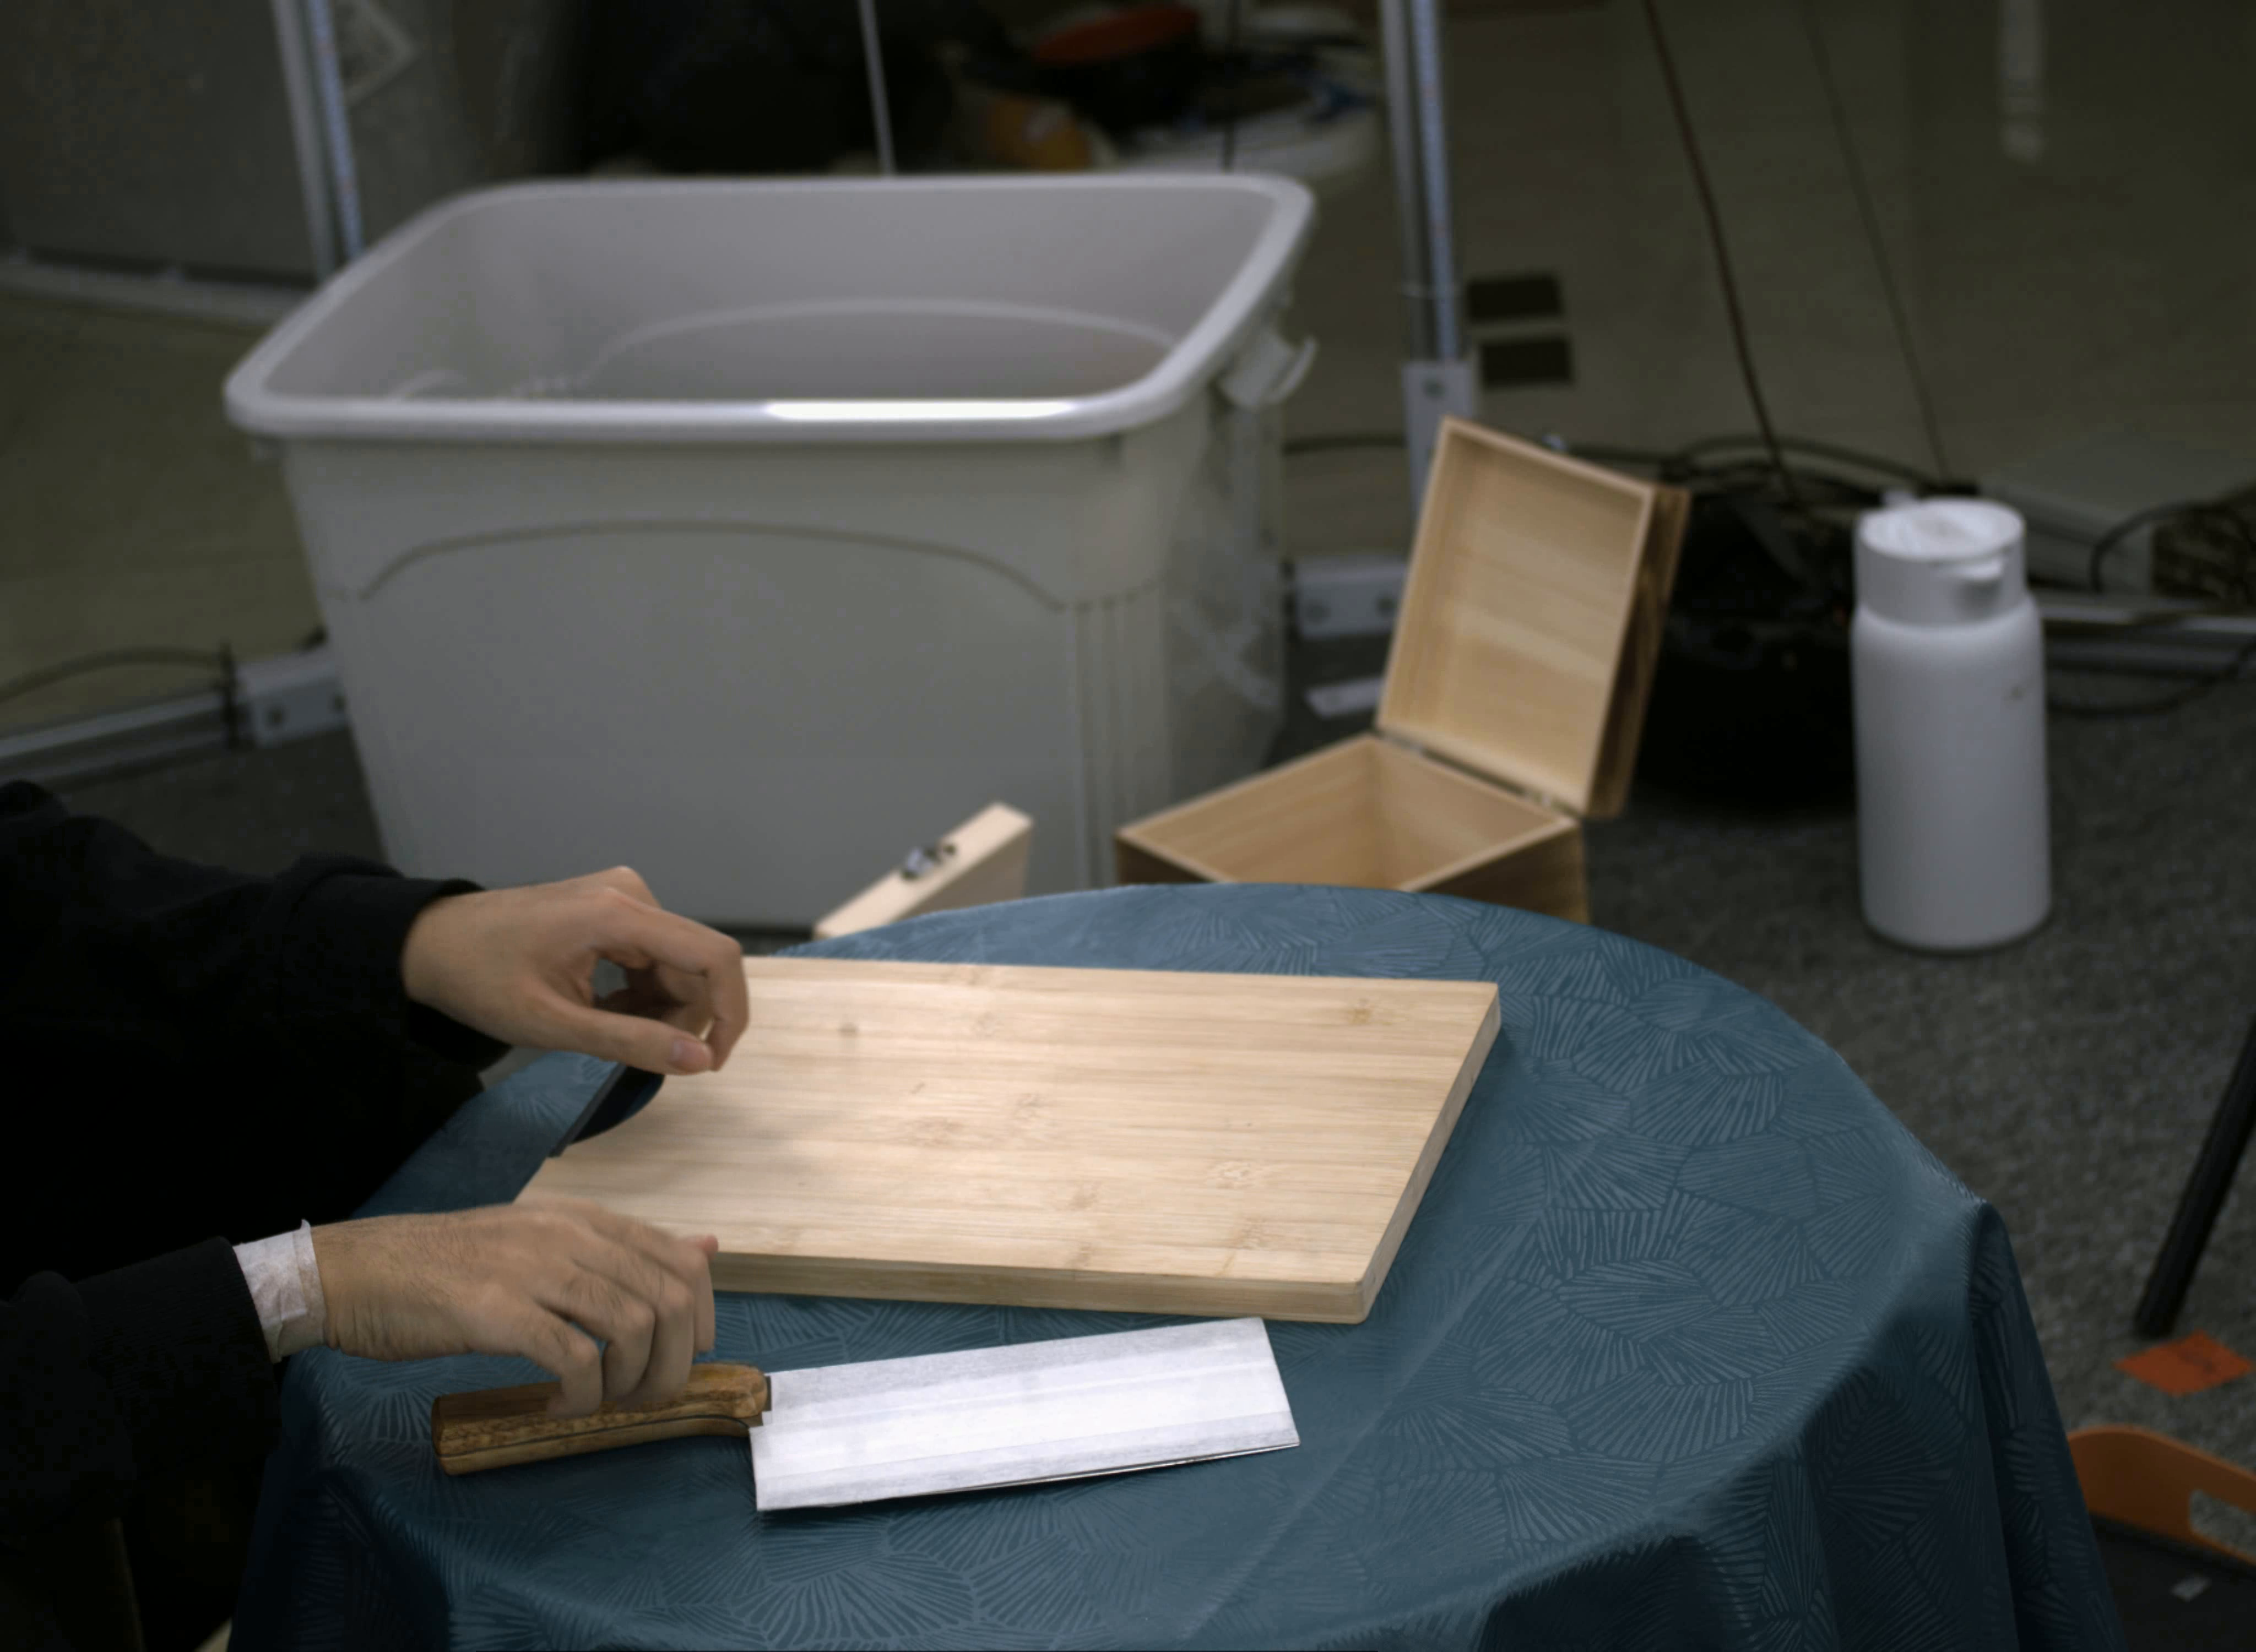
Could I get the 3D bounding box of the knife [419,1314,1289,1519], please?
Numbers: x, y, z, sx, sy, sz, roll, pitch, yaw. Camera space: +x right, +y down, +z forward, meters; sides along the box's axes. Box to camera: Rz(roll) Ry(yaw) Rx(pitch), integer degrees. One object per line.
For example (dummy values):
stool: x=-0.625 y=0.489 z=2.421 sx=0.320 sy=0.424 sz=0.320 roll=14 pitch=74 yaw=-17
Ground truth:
knife: x=-0.096 y=0.212 z=1.997 sx=0.305 sy=0.021 sz=0.091 roll=-7 pitch=28 yaw=-5

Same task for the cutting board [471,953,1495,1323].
cutting board: x=-0.051 y=0.116 z=2.188 sx=0.348 sy=0.024 sz=0.247 roll=1 pitch=26 yaw=16
